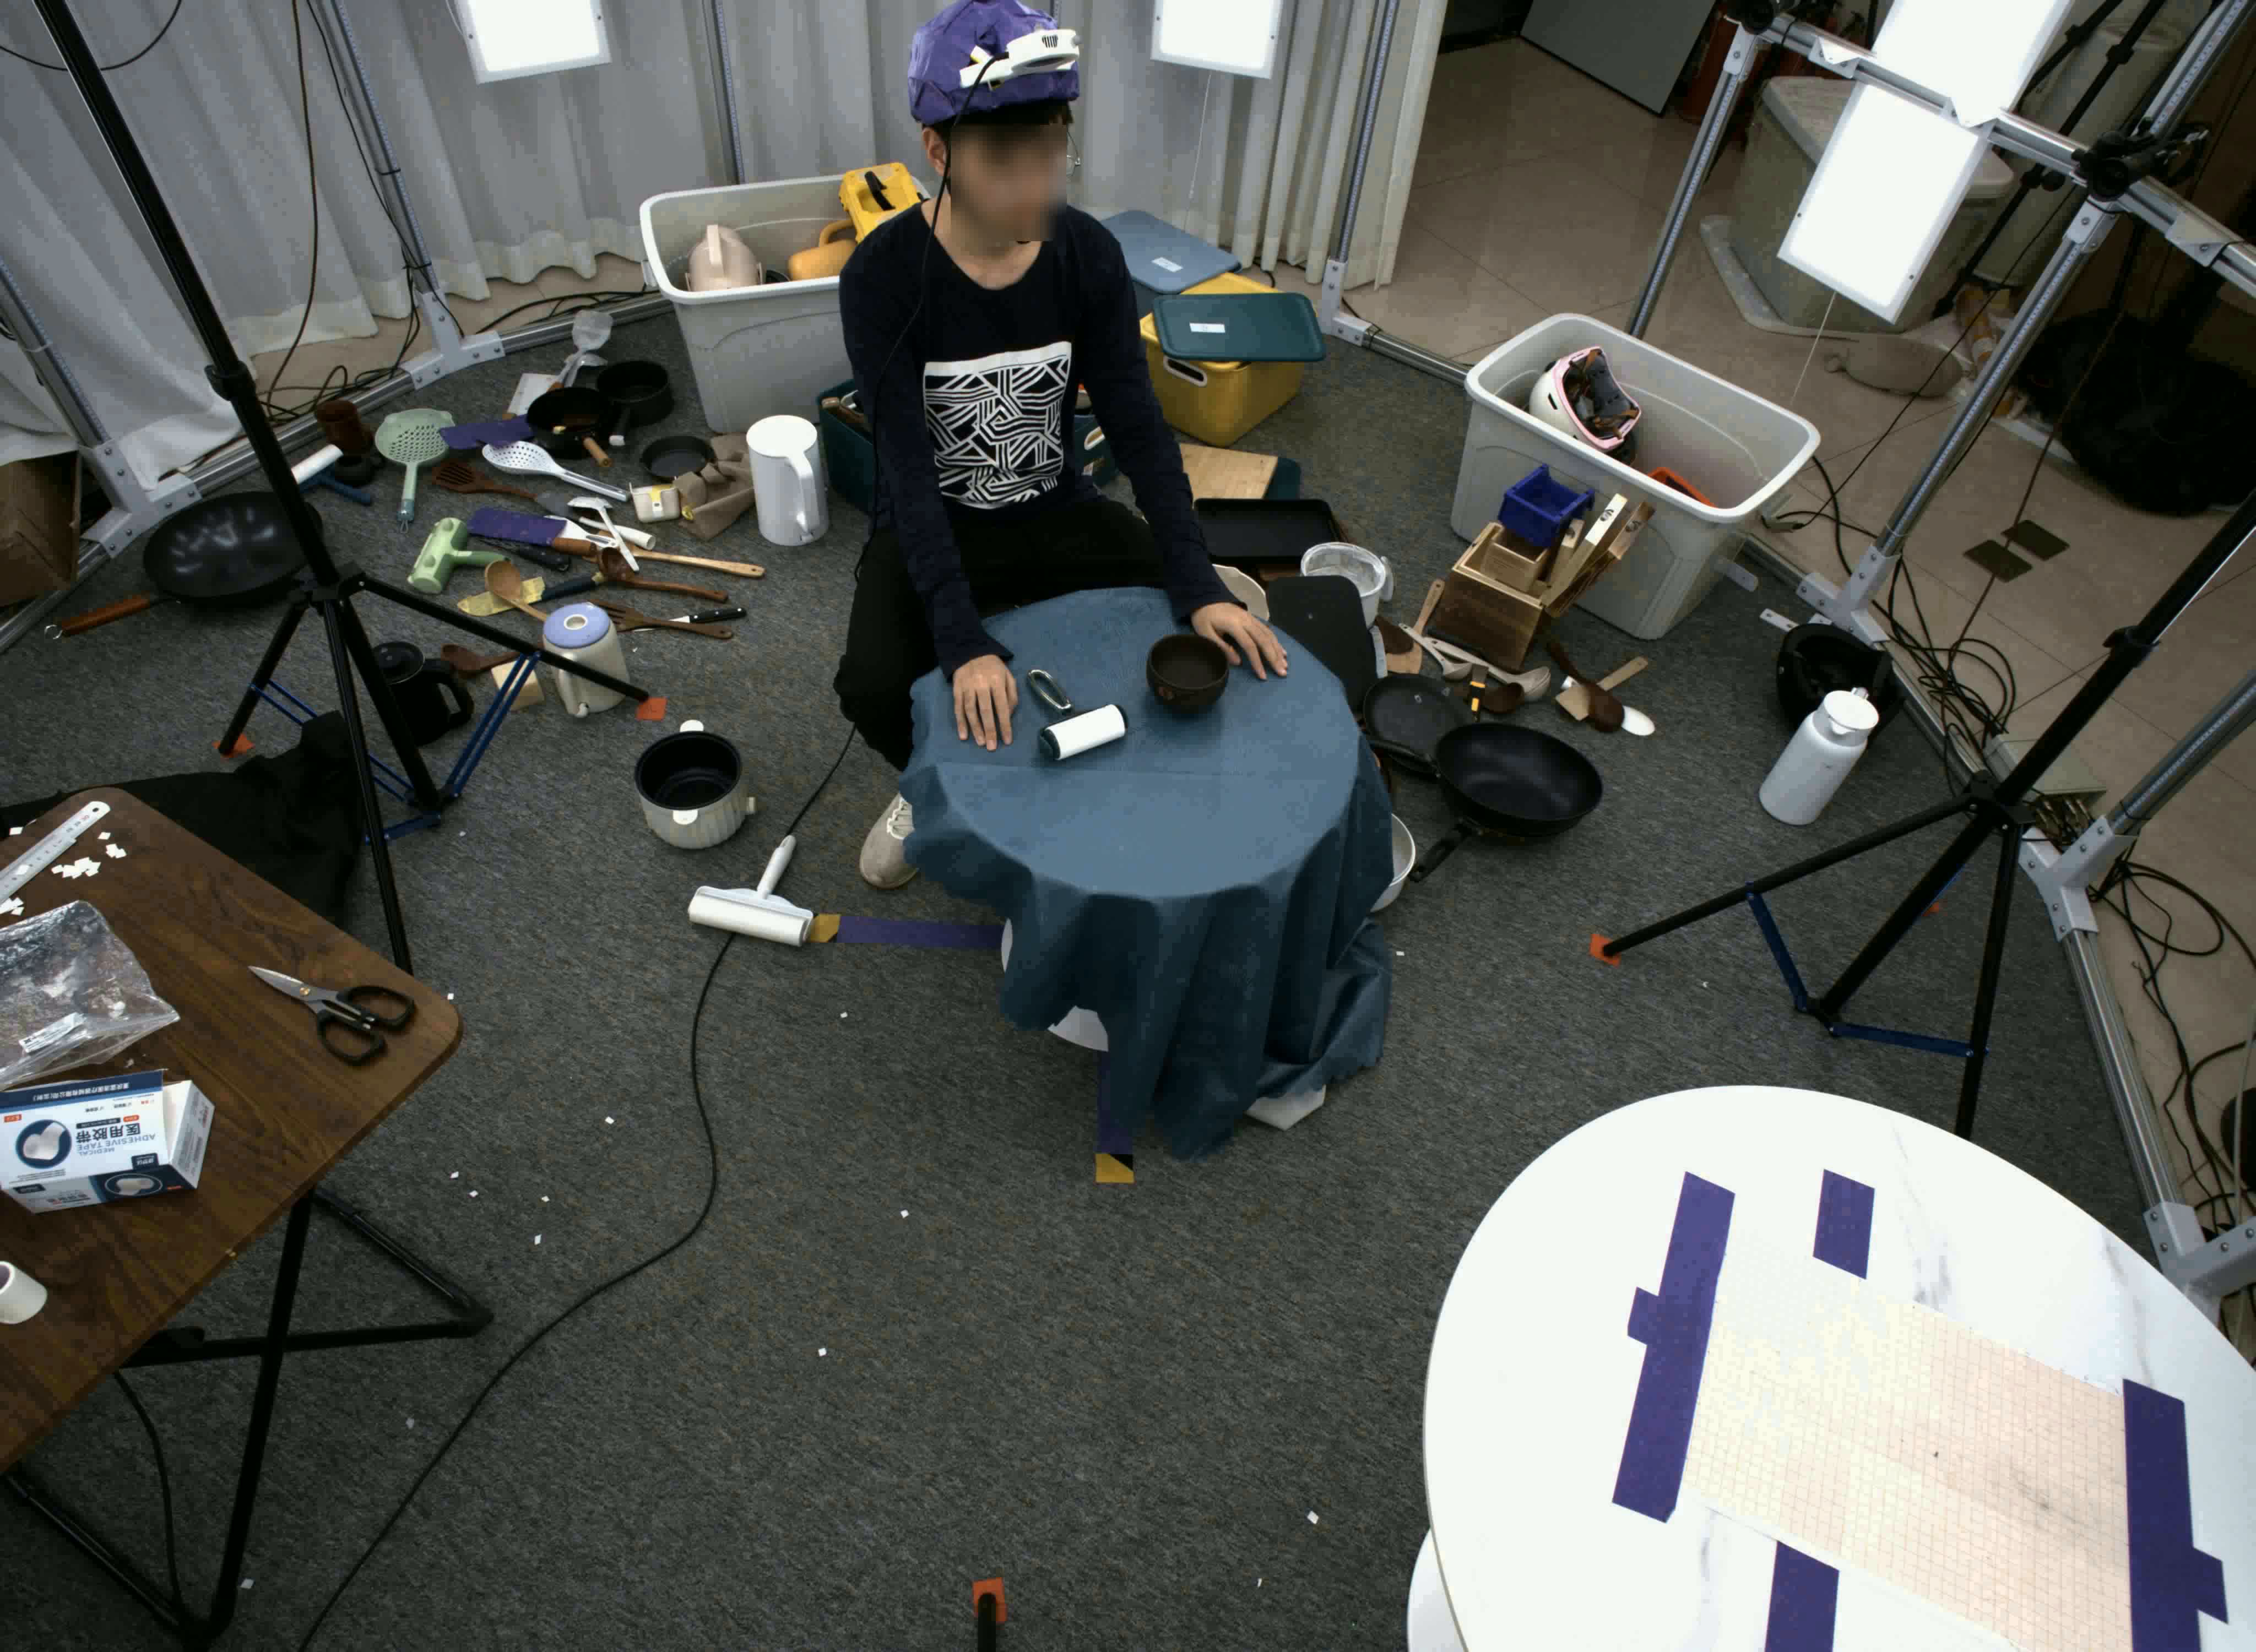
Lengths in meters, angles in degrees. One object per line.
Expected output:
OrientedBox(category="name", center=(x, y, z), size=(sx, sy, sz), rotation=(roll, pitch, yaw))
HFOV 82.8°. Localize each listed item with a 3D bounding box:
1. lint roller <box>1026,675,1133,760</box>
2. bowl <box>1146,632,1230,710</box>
OrientedBox(category="lint roller", center=(-0.093, -0.172, 1.784), size=(0.135, 0.047, 0.184), rotation=(-22, 51, -21))
OrientedBox(category="bowl", center=(0.084, -0.210, 1.809), size=(0.118, 0.068, 0.121), rotation=(0, 48, 0))
